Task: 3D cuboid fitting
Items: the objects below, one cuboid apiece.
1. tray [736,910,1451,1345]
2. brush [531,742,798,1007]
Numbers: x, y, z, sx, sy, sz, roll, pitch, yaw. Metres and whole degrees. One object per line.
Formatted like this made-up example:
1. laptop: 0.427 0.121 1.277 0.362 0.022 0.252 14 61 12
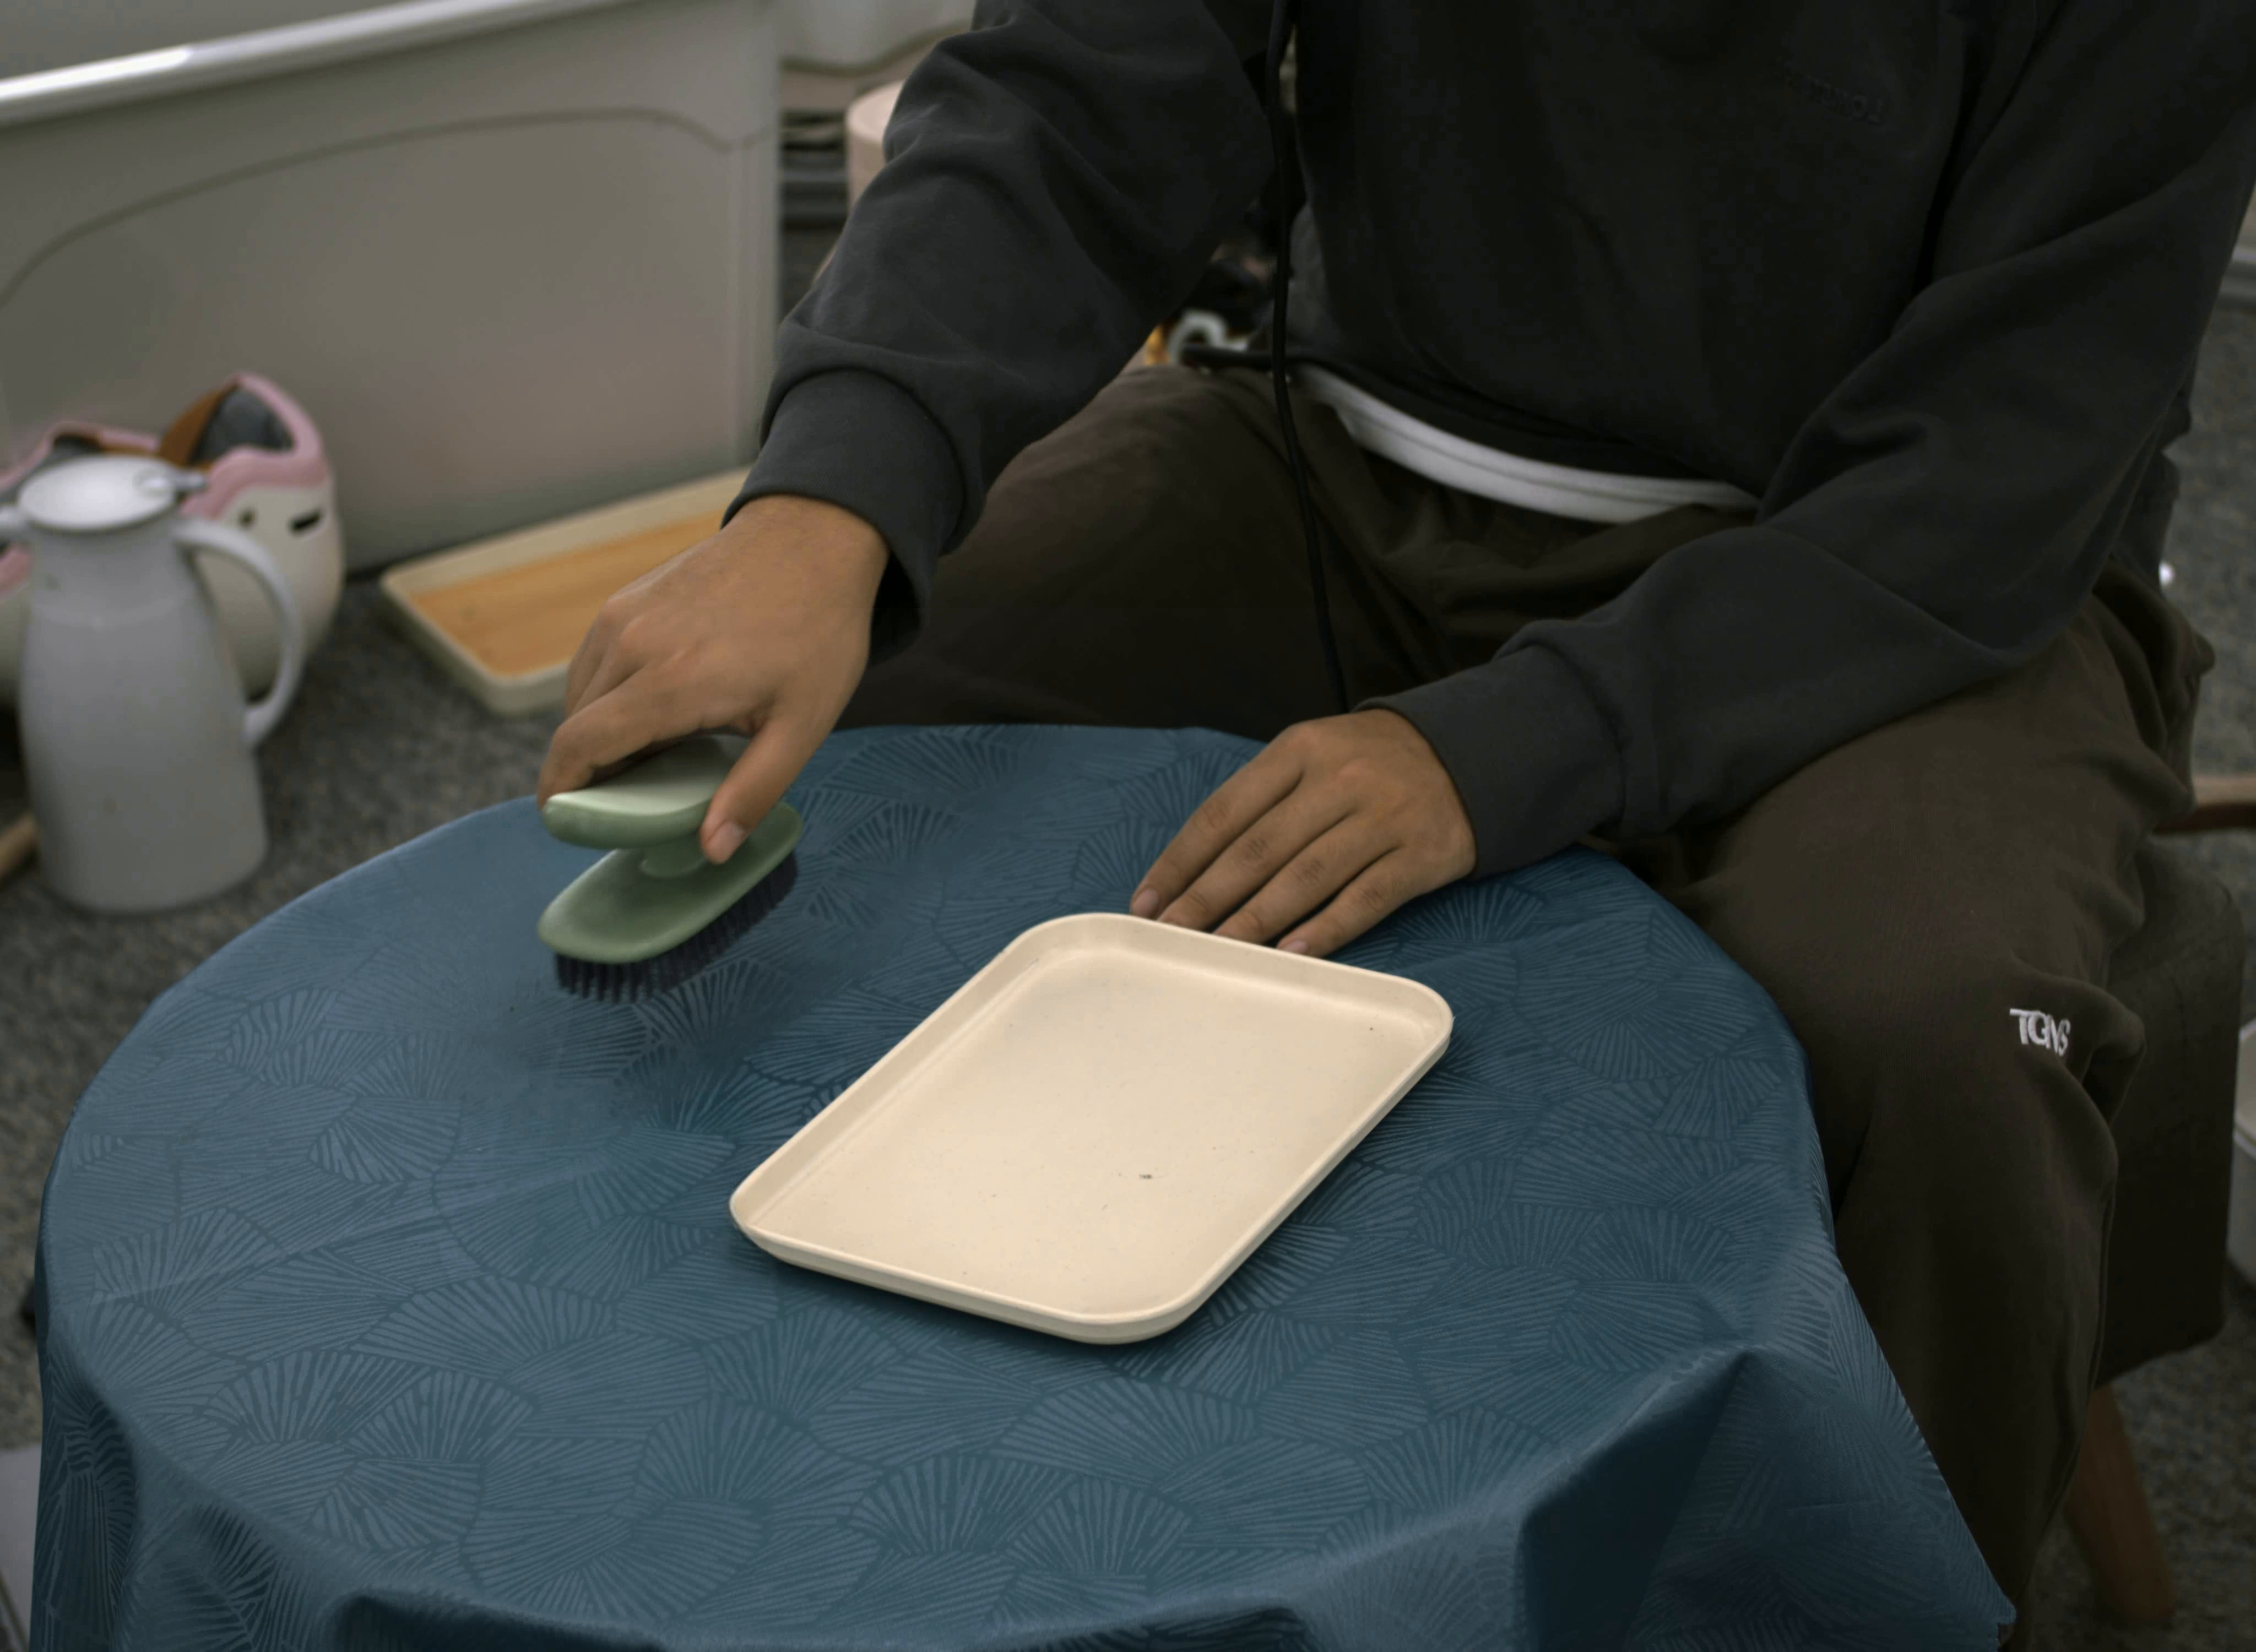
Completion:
1. tray: -0.009 0.100 1.888 0.170 0.017 0.243 13 31 26
2. brush: -0.162 0.016 1.960 0.059 0.075 0.124 11 18 27
